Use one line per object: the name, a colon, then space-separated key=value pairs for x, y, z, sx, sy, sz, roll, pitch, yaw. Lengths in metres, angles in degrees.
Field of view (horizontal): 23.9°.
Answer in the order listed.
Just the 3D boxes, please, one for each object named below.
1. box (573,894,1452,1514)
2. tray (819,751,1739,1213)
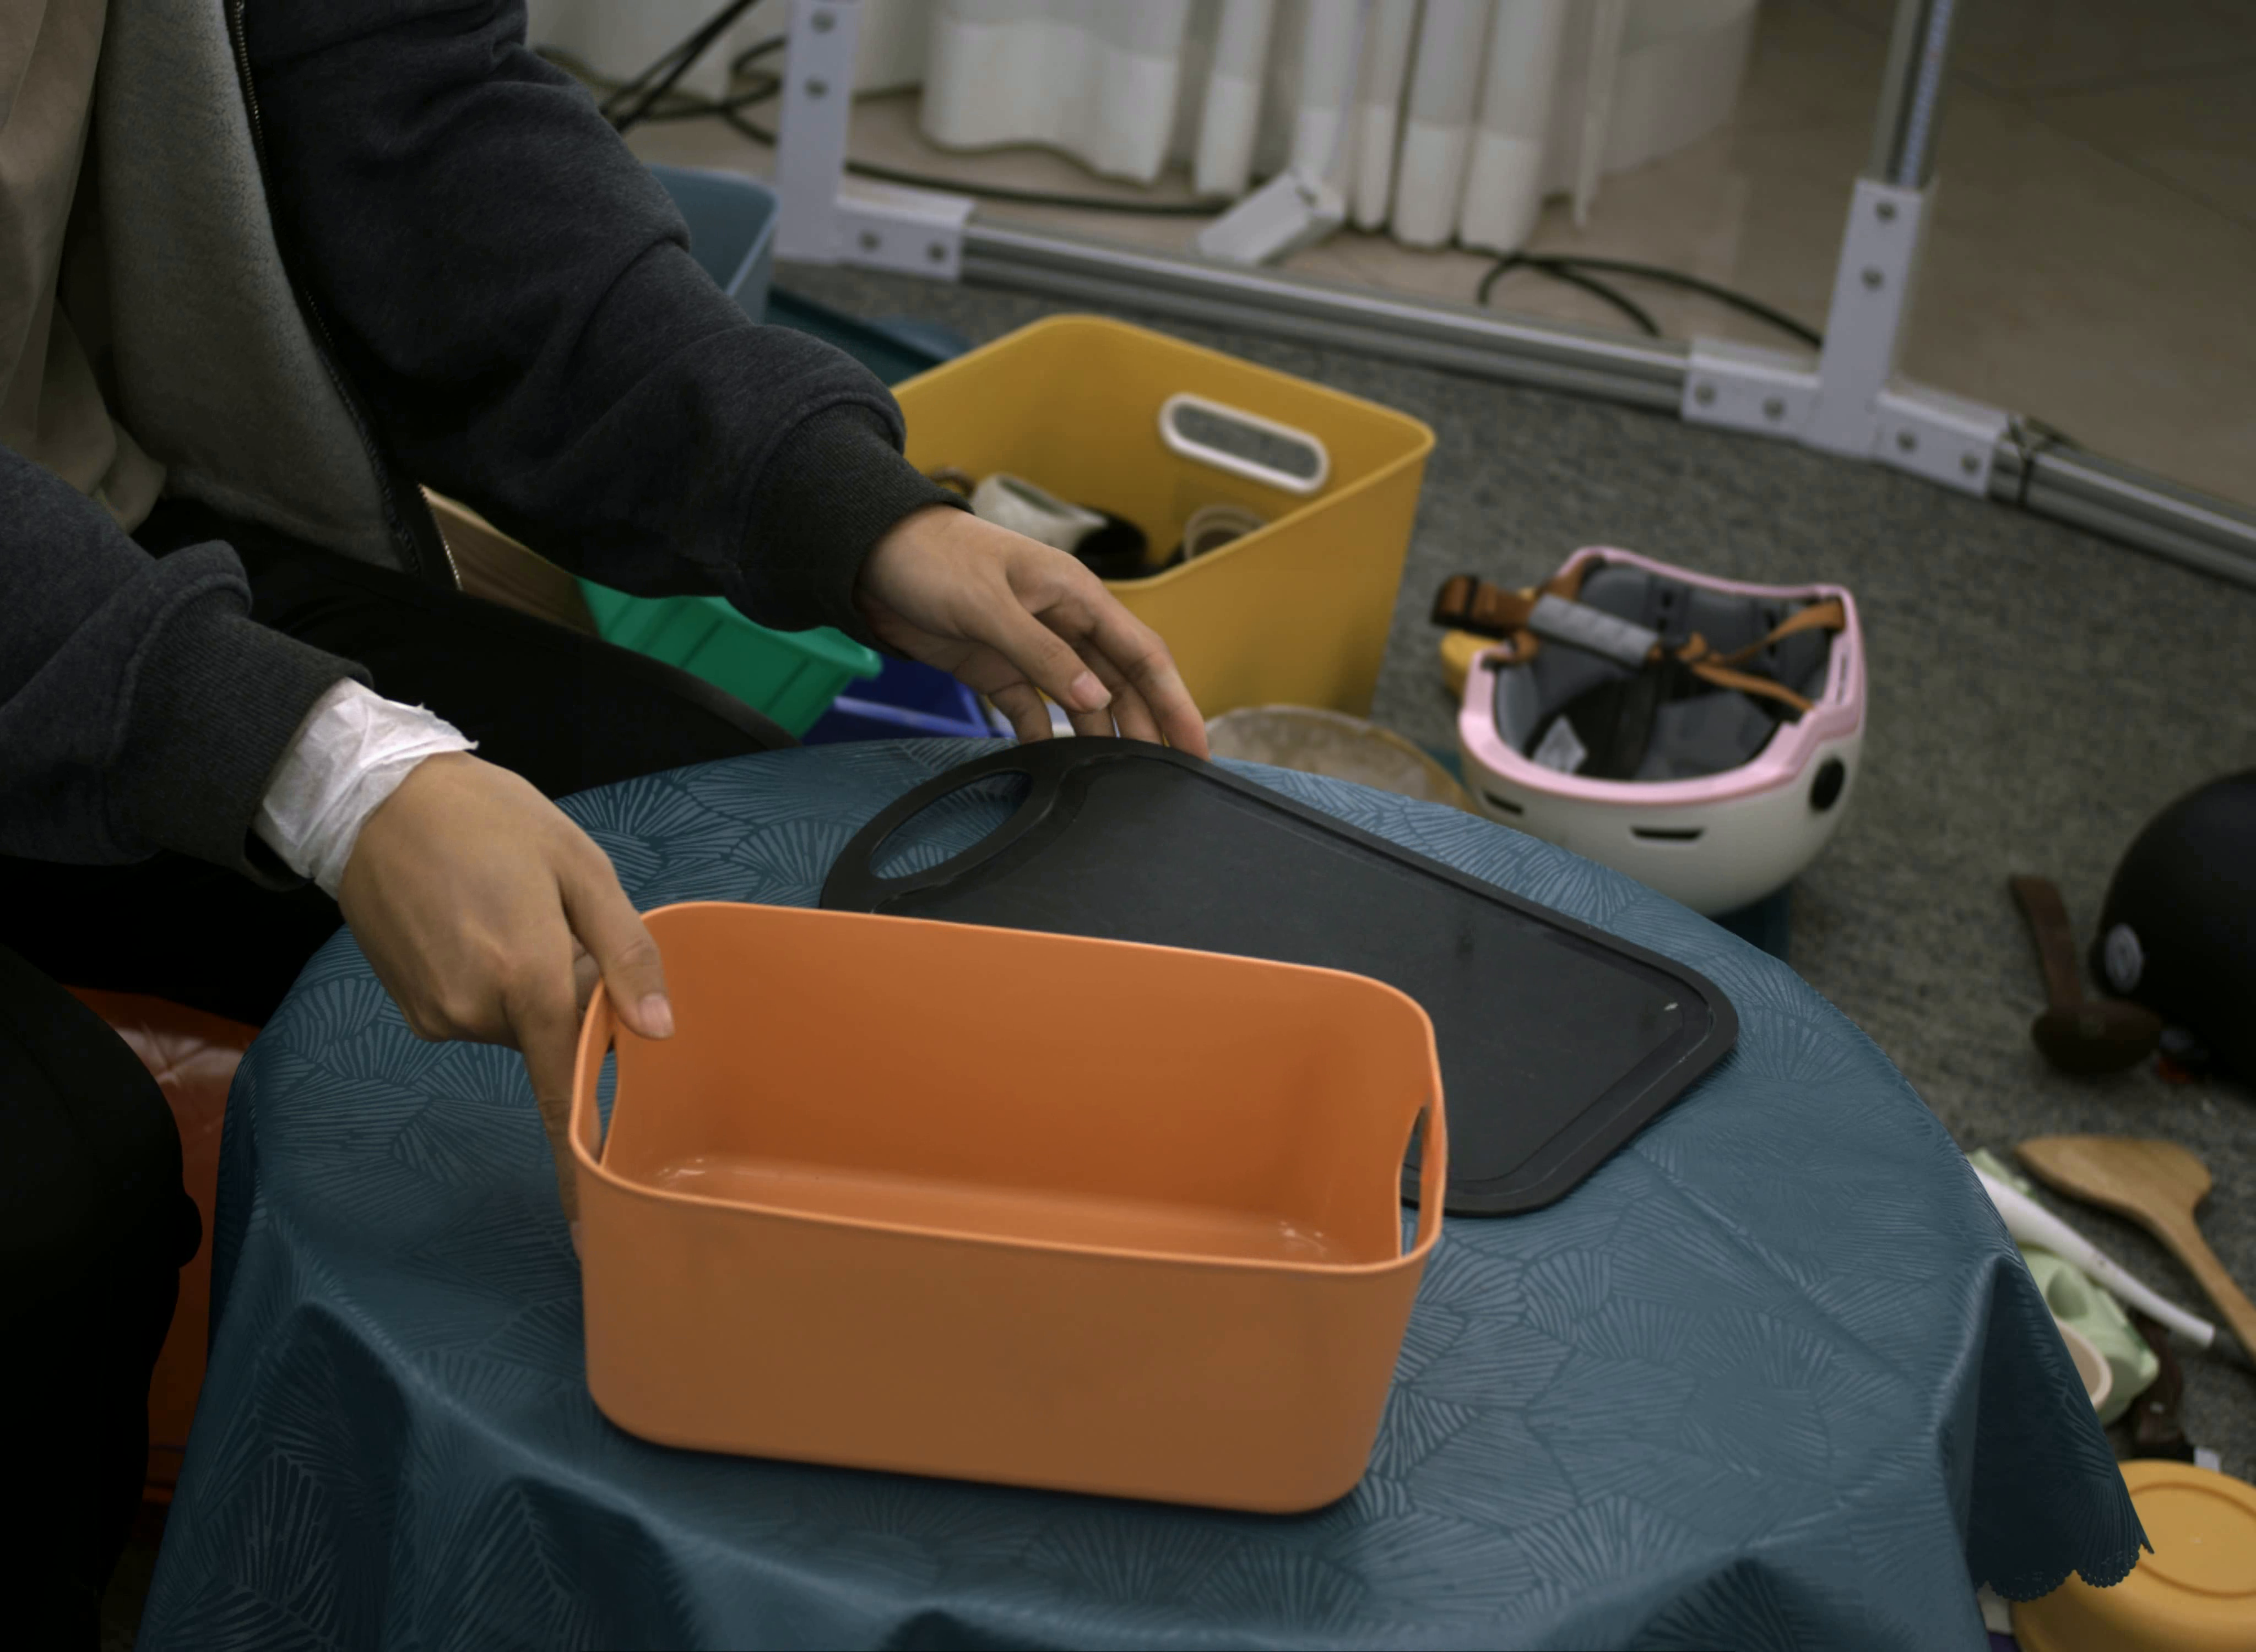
box: x=-0.040 y=0.120 z=1.684 sx=0.272 sy=0.102 sz=0.200 roll=7 pitch=27 yaw=-1
tray: x=0.048 y=0.048 z=1.941 sx=0.327 sy=0.010 sz=0.210 roll=22 pitch=32 yaw=26
